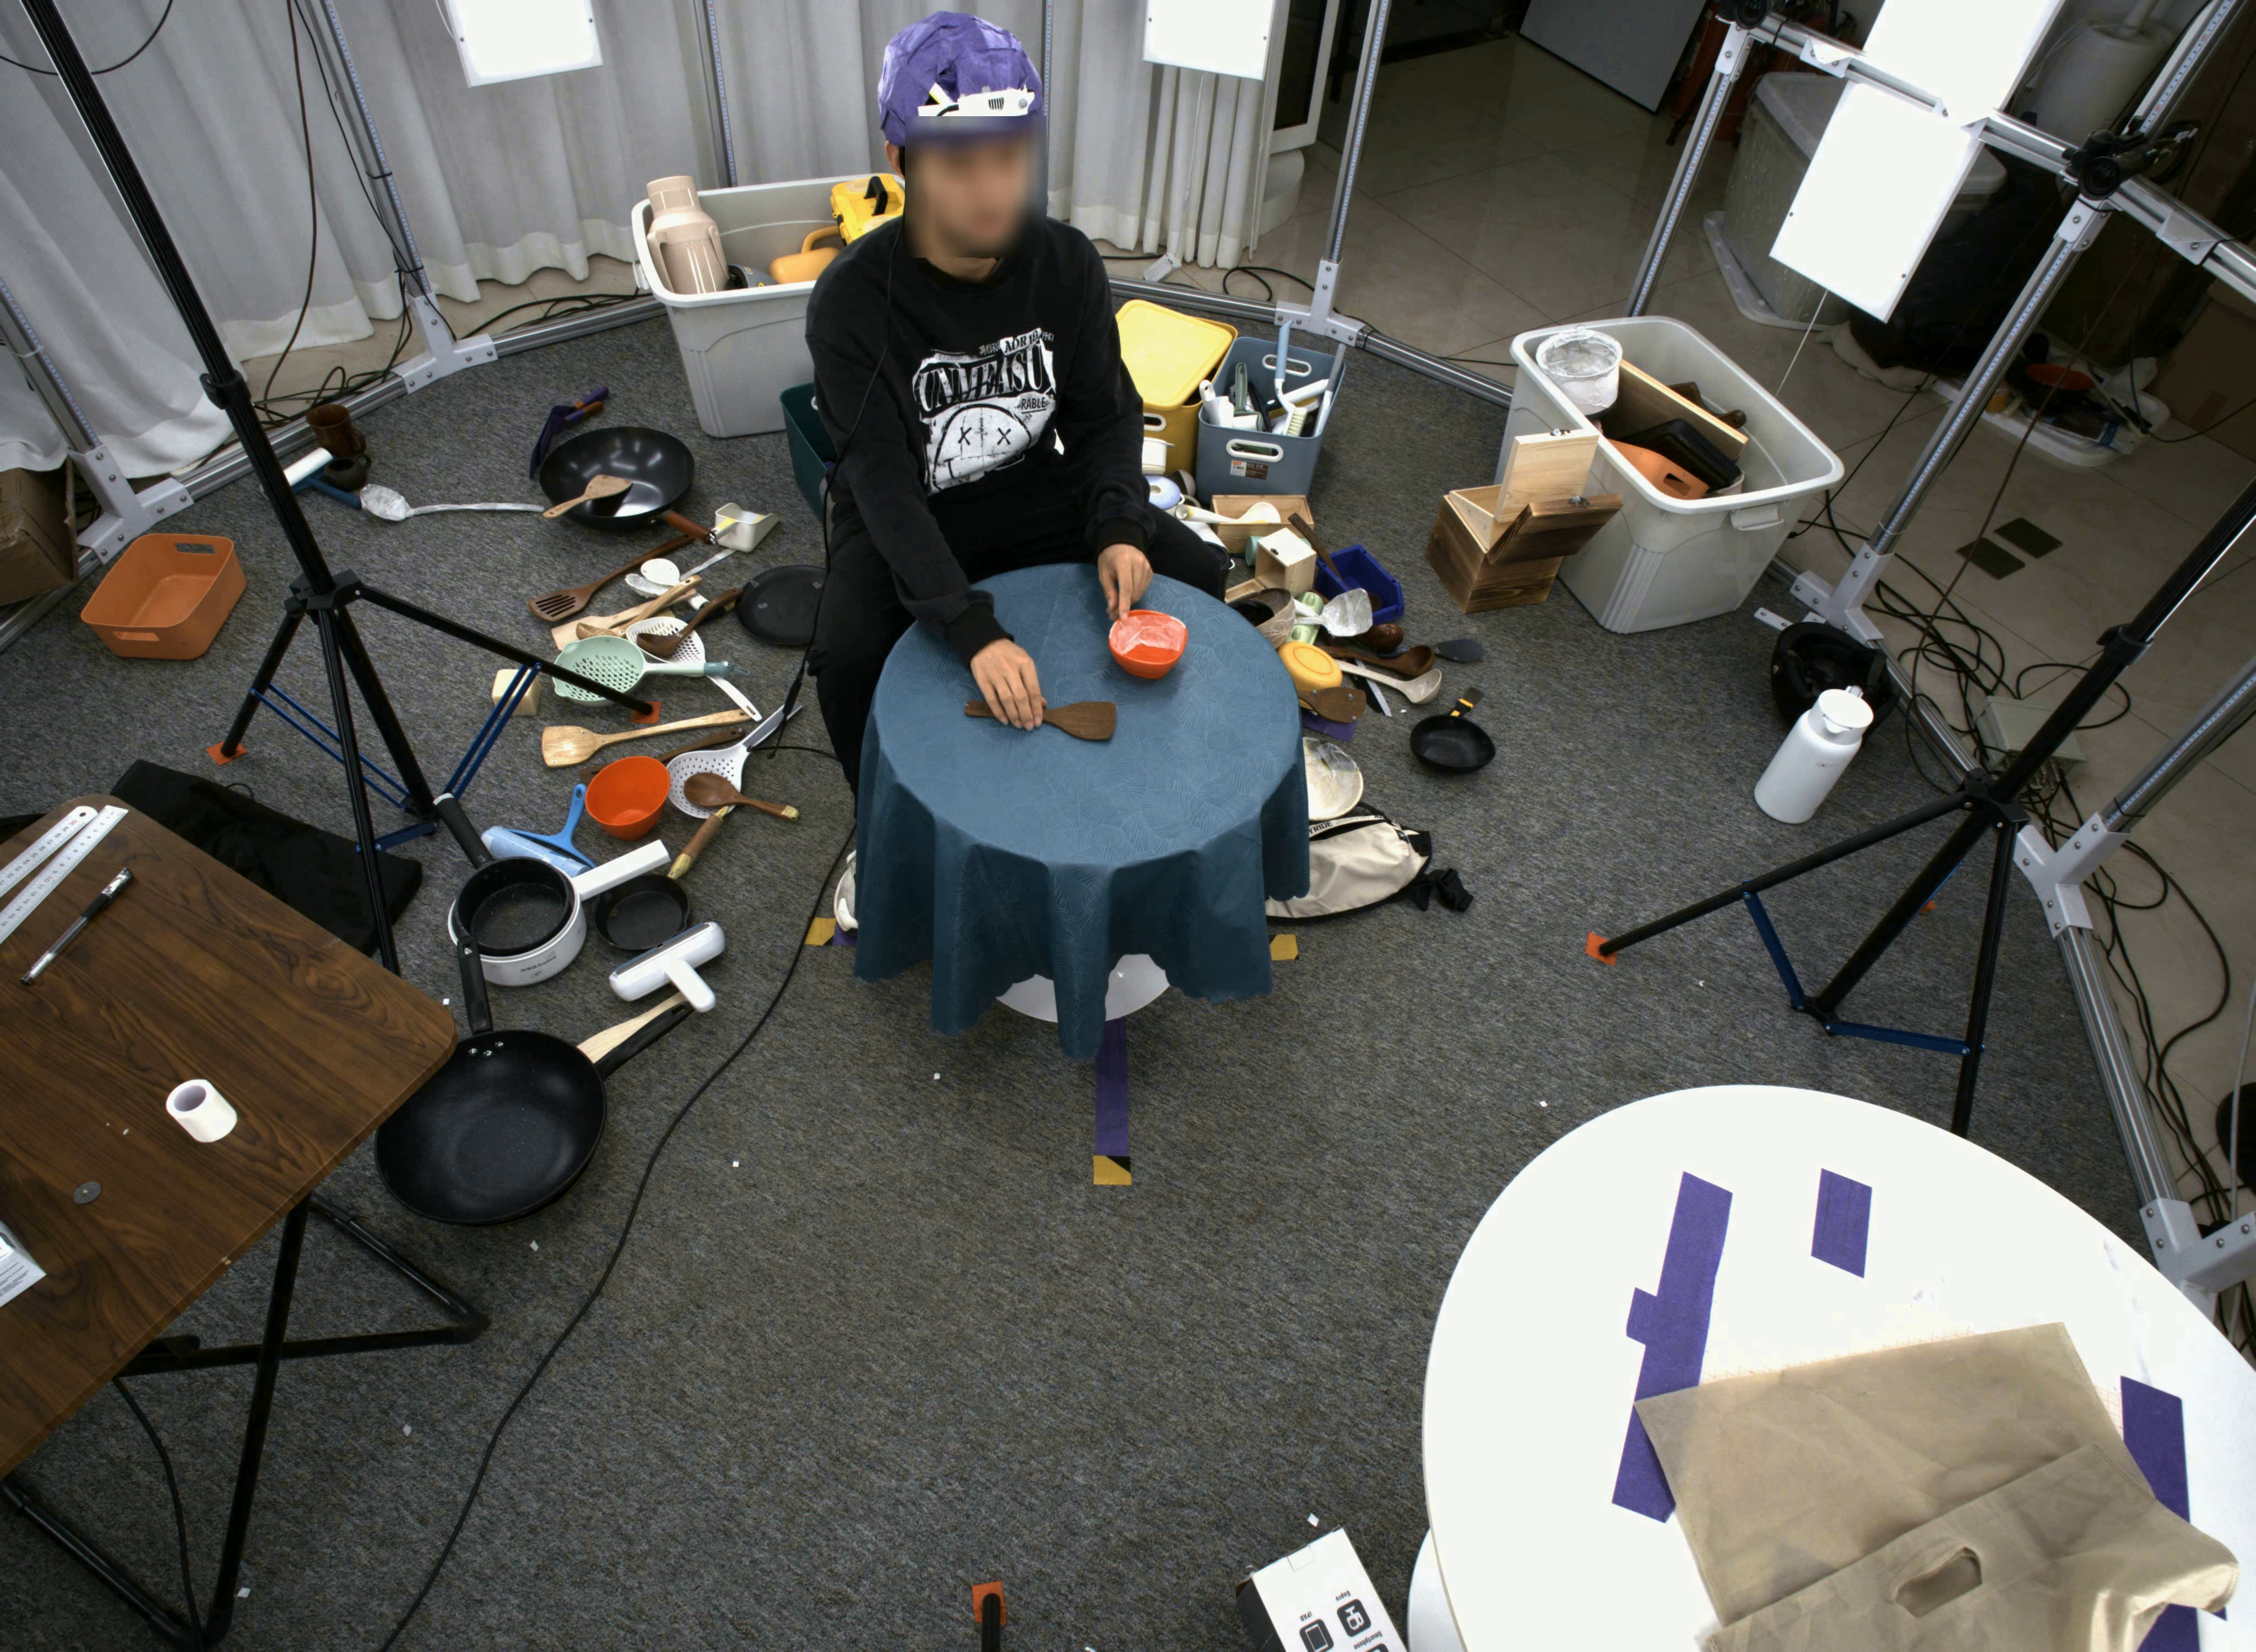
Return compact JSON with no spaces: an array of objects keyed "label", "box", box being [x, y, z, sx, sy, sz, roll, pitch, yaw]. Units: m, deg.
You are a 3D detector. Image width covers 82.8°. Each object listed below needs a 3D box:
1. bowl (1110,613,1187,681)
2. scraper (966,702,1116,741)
[{"label":"bowl","box":[0.029,-0.256,1.878,0.119,0.050,0.122,2,50,-2]},{"label":"scraper","box":[-0.122,-0.155,1.805,0.211,0.010,0.077,6,48,2]}]
